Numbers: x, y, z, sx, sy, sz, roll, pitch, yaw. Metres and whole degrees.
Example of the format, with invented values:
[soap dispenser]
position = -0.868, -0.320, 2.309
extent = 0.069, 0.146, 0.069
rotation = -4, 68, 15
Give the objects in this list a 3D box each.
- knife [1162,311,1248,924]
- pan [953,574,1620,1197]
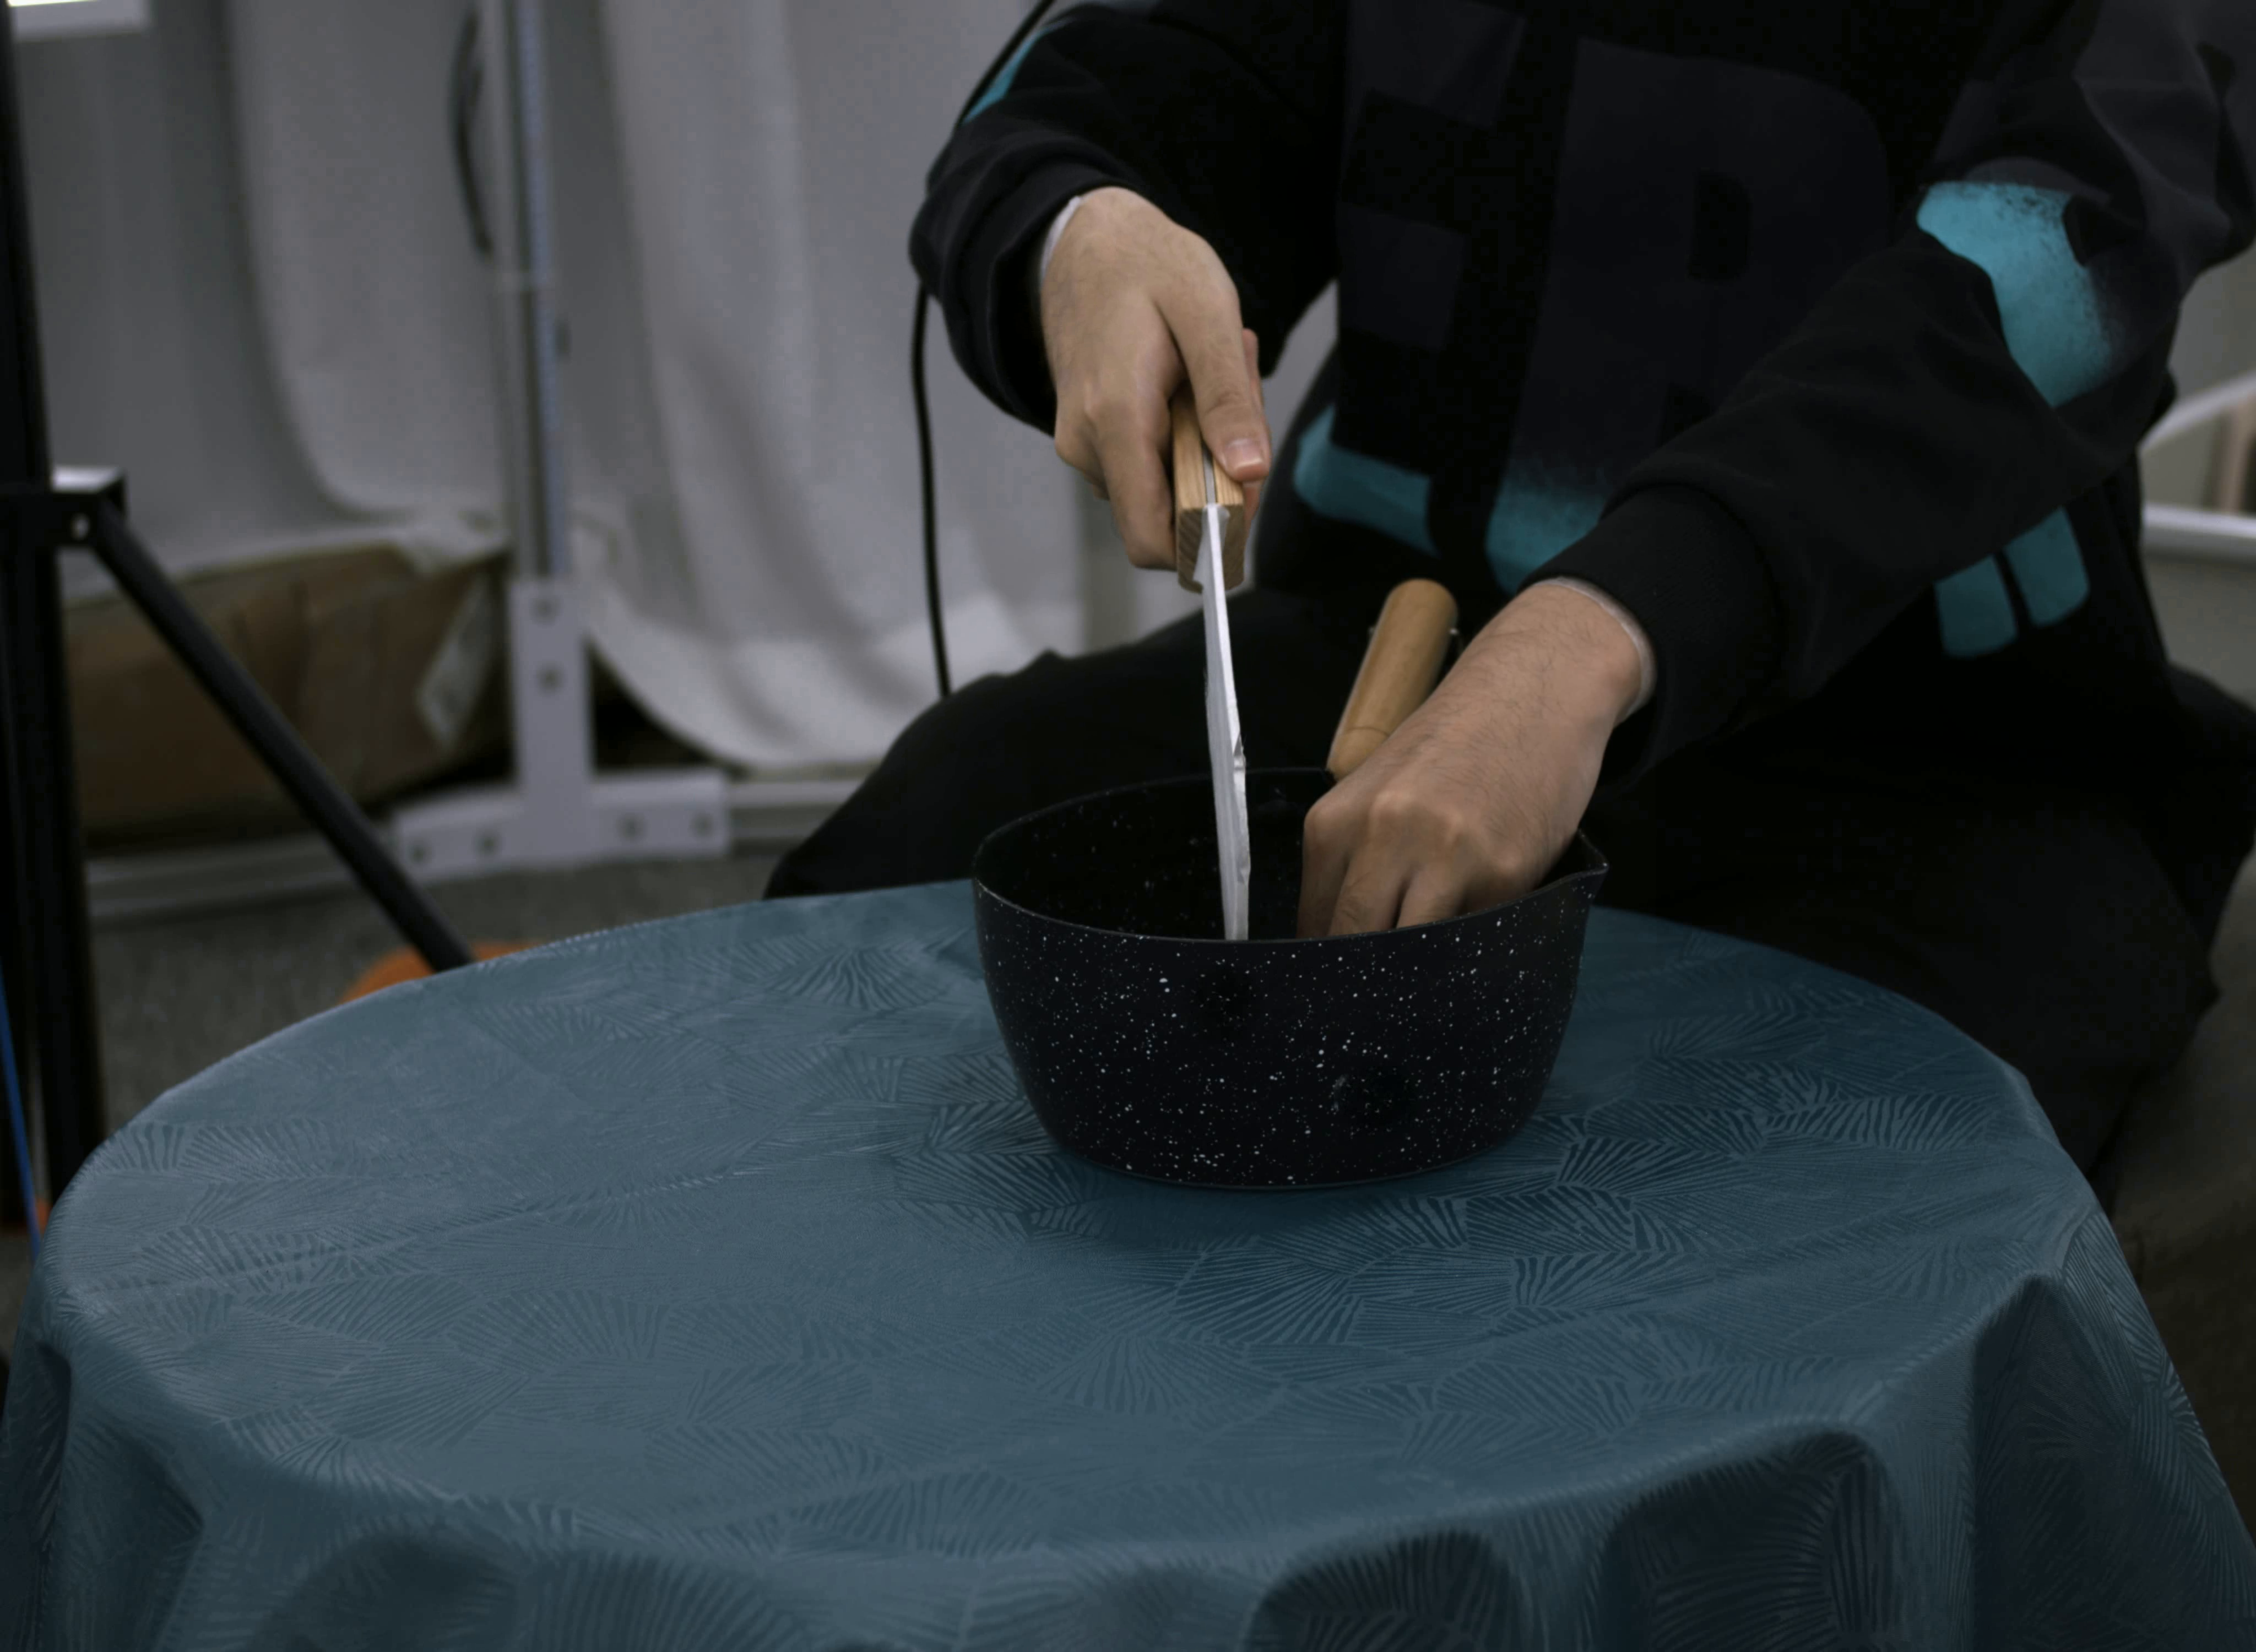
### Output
[knife]
position = 0.028, -0.060, 1.647
extent = 0.021, 0.113, 0.319
rotation = -1, 40, -2
[pan]
position = 0.062, 0.014, 1.679
extent = 0.209, 0.108, 0.341
rotation = 0, 17, 12
